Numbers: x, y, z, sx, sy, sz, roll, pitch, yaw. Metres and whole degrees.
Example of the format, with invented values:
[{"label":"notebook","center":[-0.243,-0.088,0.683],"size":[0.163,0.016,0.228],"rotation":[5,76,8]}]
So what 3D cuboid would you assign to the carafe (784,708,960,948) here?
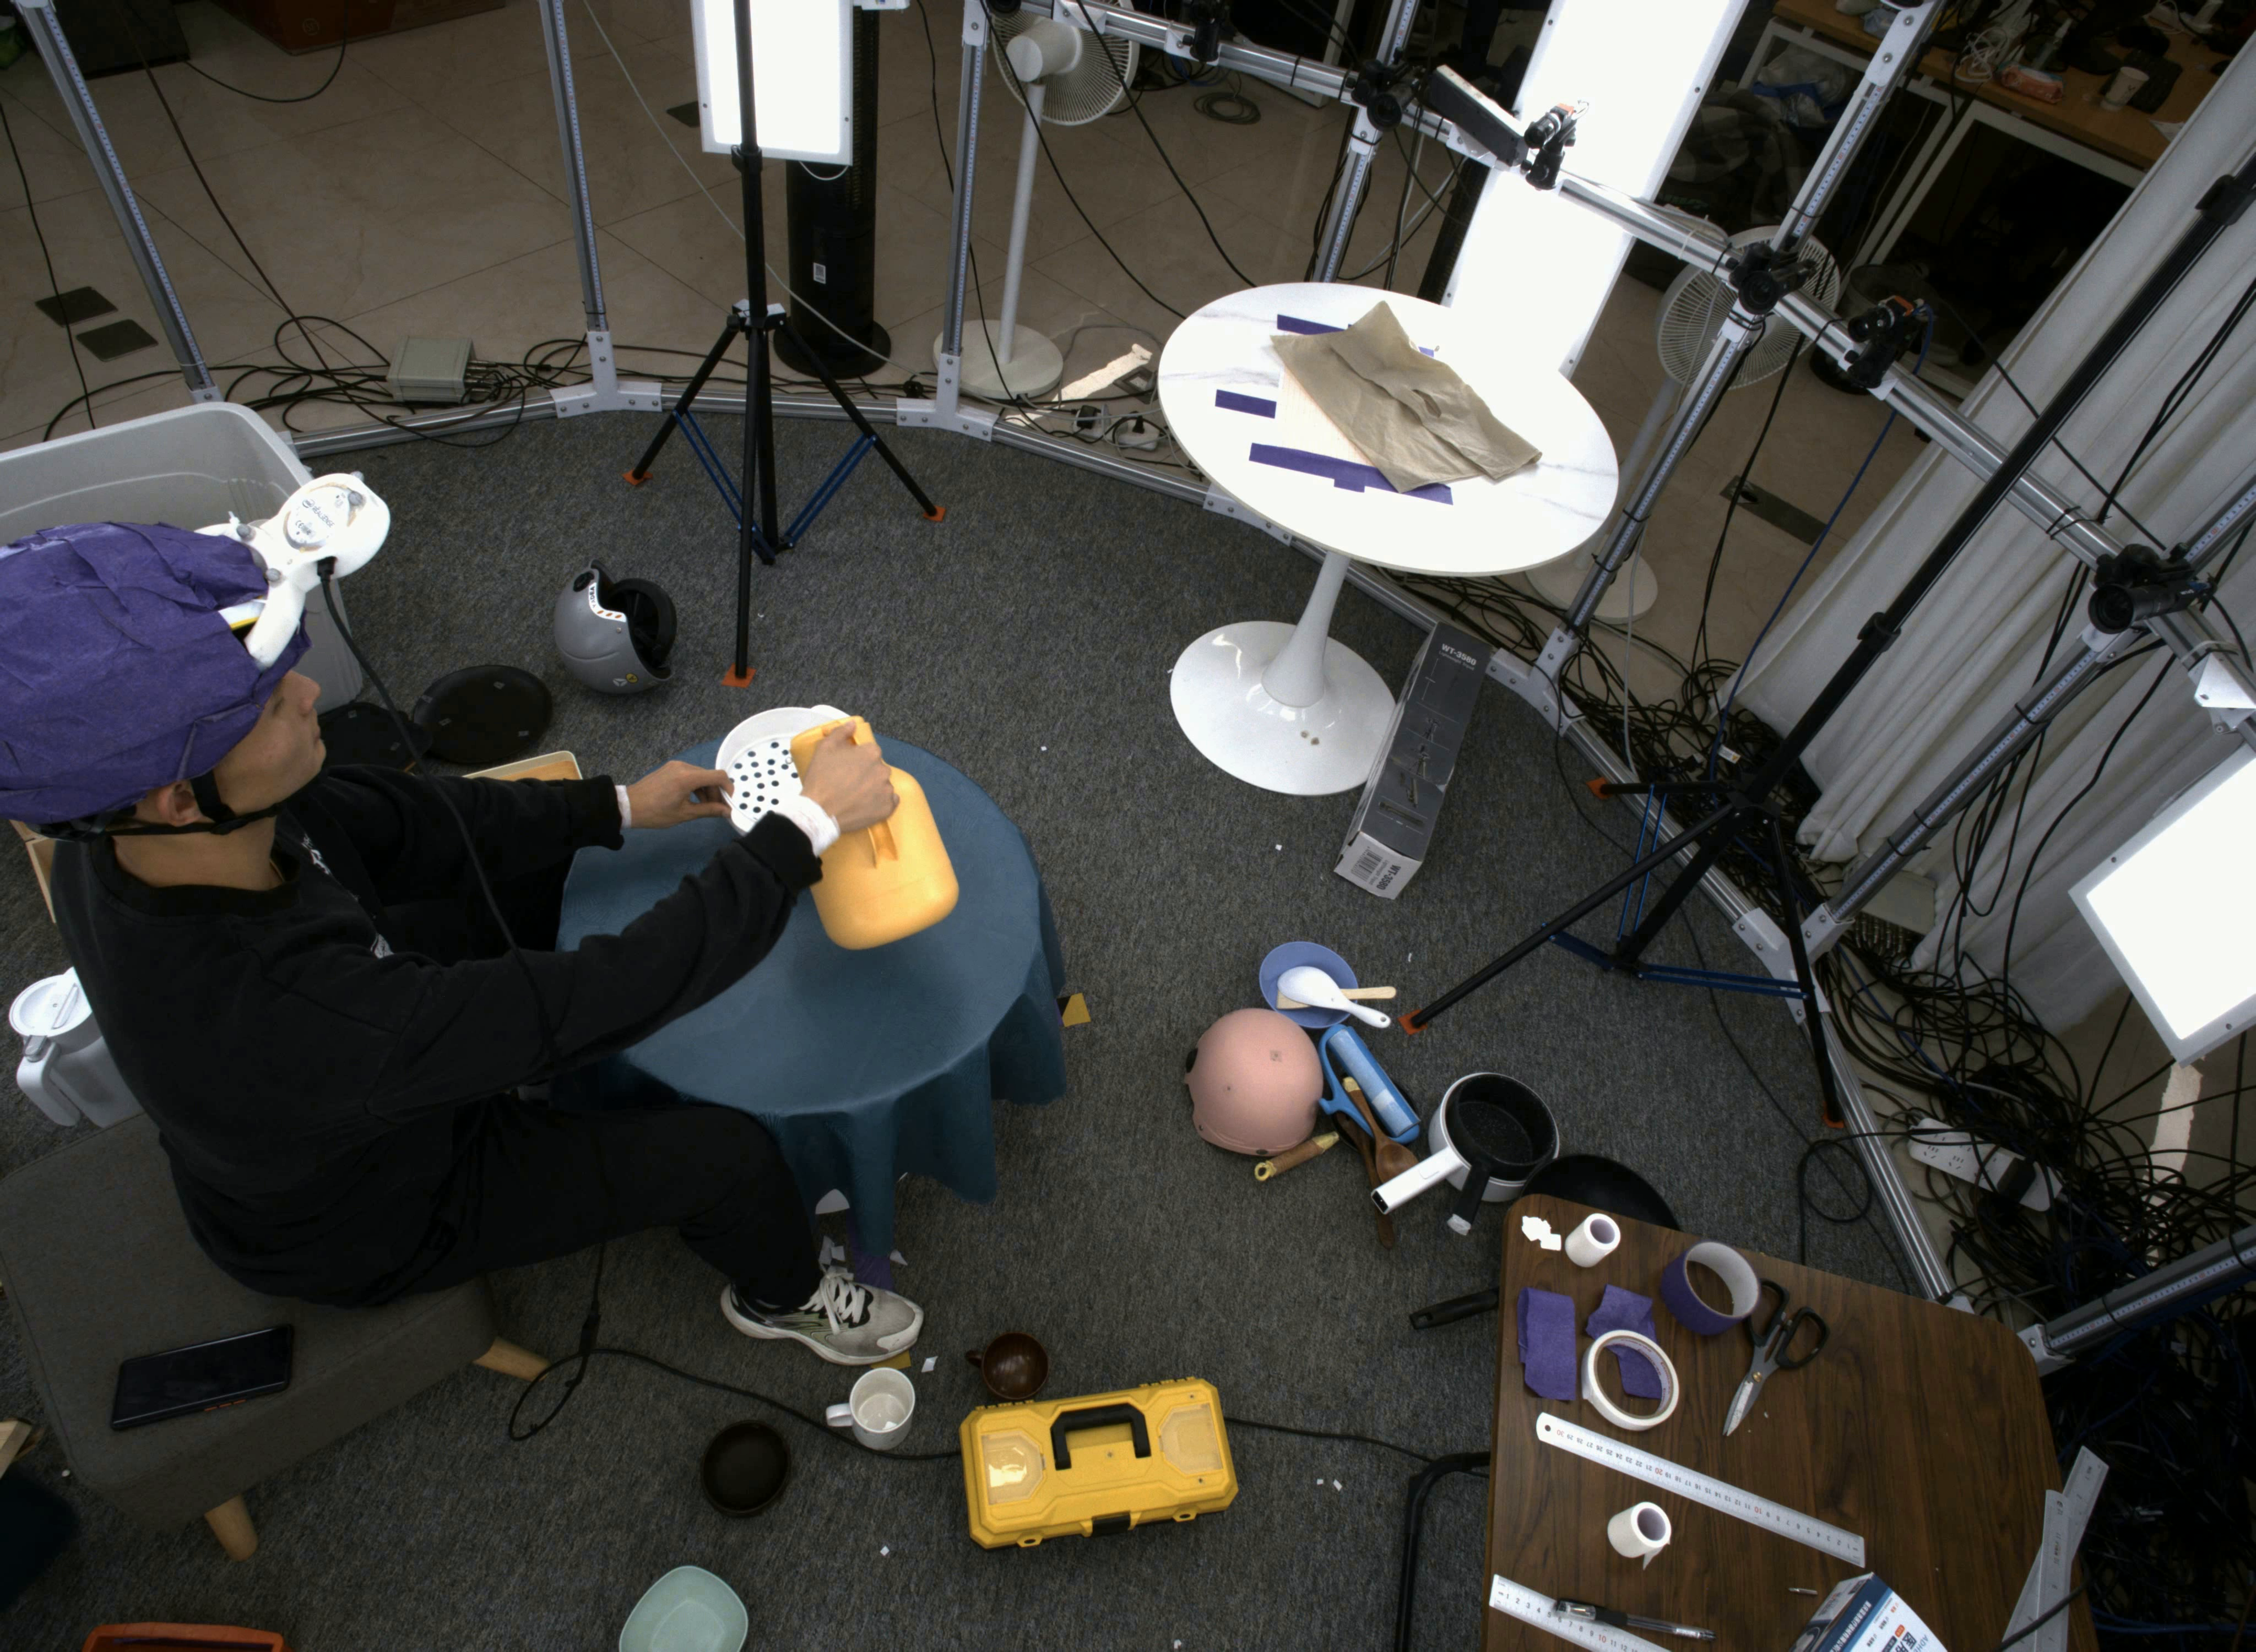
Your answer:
[{"label":"carafe","center":[-0.304,-0.002,1.481],"size":[0.163,0.199,0.265],"rotation":[-25,97,-16]}]

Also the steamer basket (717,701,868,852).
[{"label":"steamer basket","center":[-0.429,-0.061,1.677],"size":[0.201,0.070,0.229],"rotation":[28,52,-2]}]
